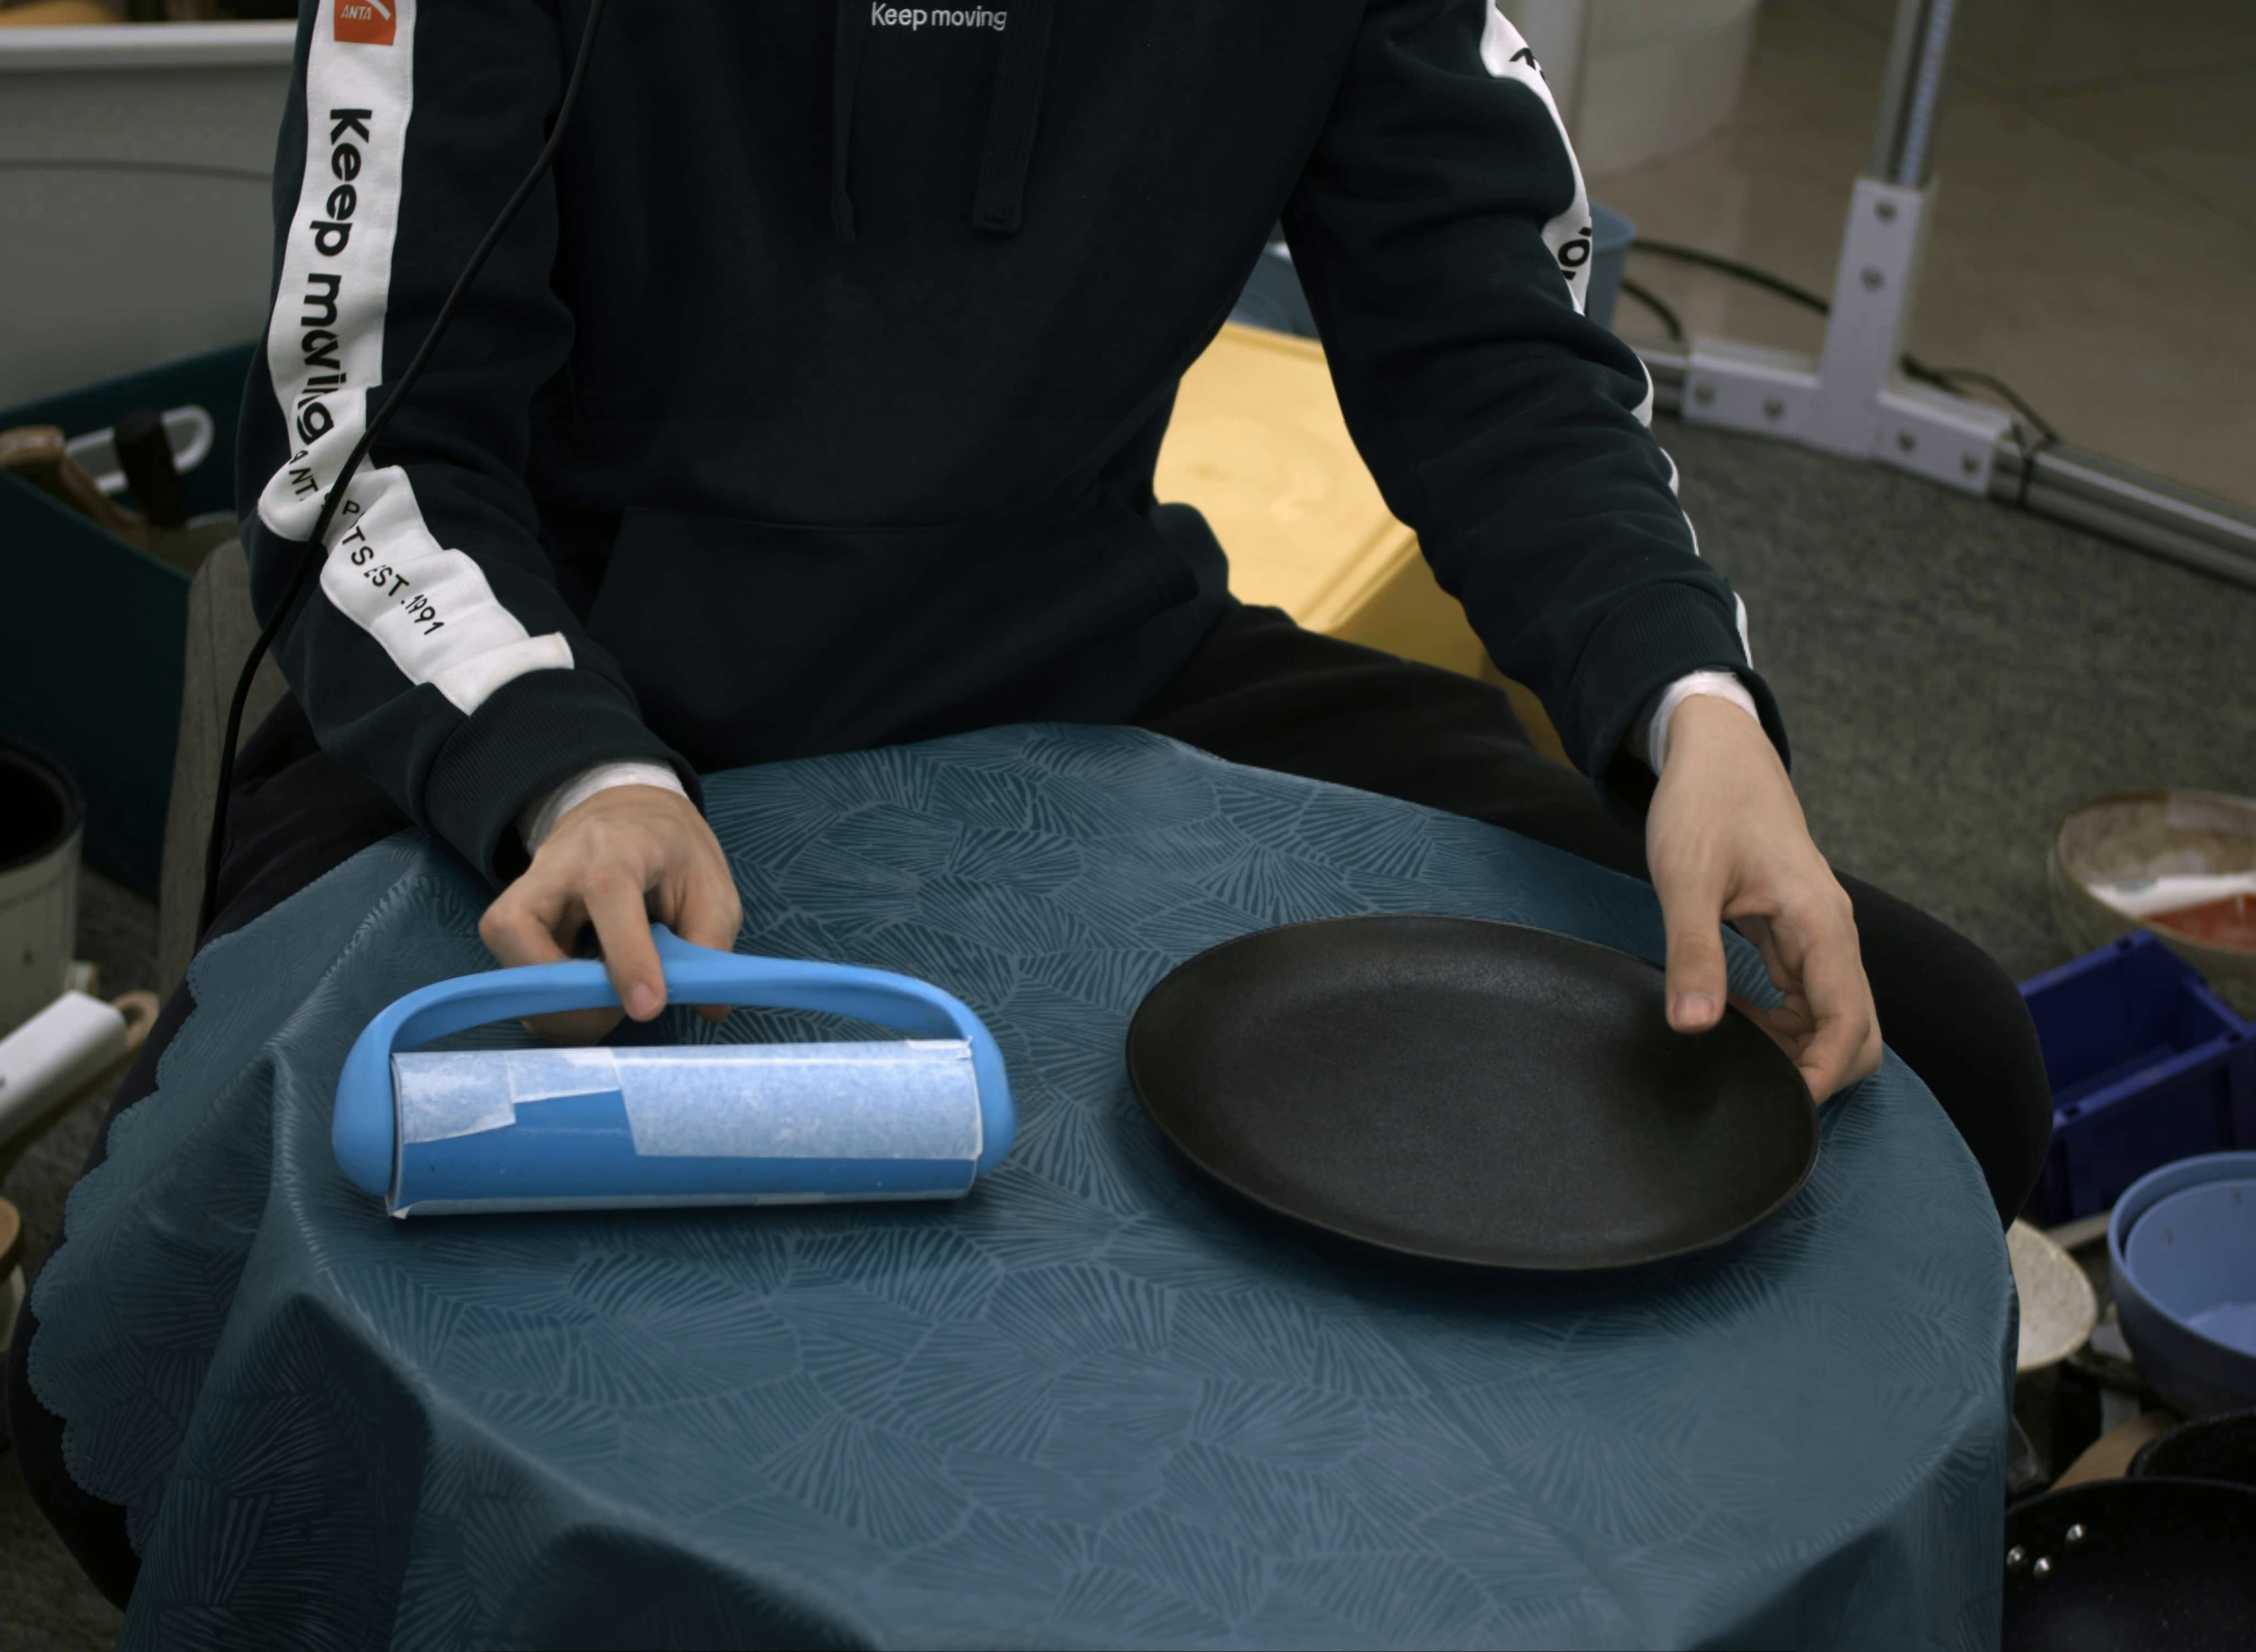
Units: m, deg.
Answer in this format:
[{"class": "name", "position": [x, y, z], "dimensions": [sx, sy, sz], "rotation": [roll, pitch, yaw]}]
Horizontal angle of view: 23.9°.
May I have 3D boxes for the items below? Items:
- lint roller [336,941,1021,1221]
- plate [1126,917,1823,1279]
[{"class": "lint roller", "position": [-0.163, 0.072, 1.802], "dimensions": [0.227, 0.068, 0.182], "rotation": [-3, 27, -16]}, {"class": "plate", "position": [0.119, 0.099, 1.849], "dimensions": [0.243, 0.023, 0.246], "rotation": [5, 27, -3]}]
